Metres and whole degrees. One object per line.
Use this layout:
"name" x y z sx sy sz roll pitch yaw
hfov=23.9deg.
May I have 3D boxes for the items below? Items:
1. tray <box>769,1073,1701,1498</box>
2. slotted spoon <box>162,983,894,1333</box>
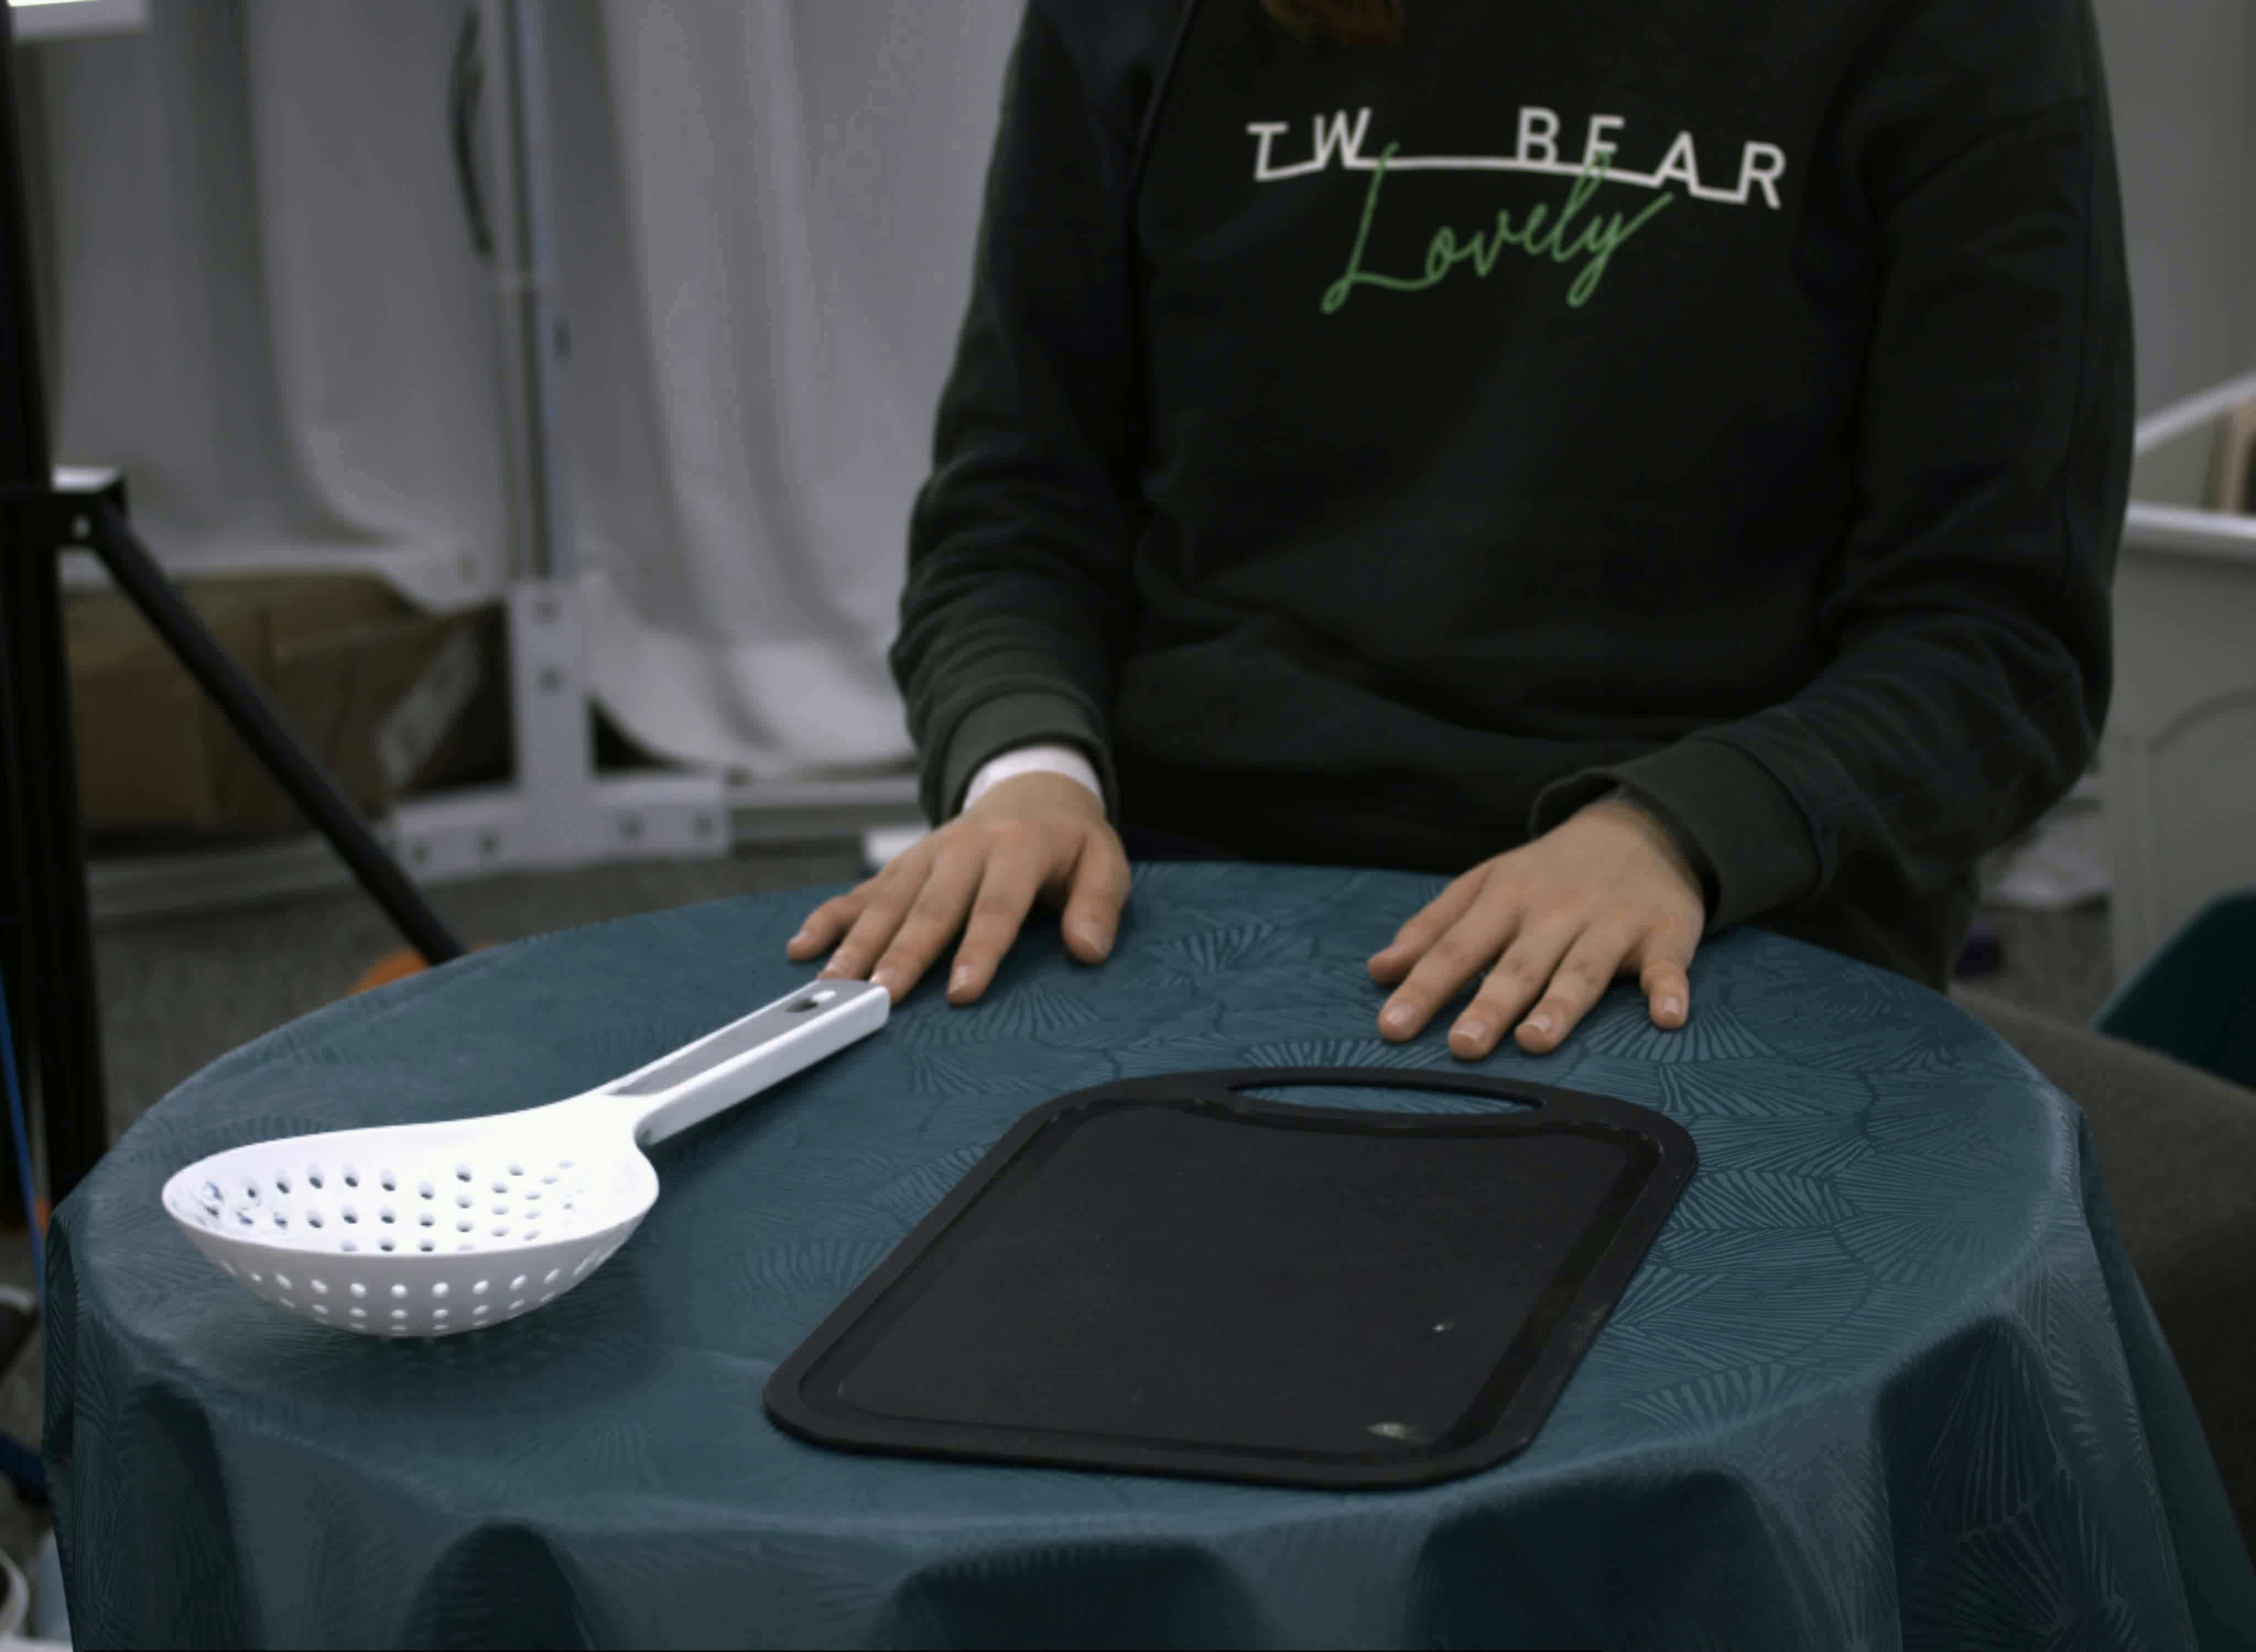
"tray" 0.039 0.120 1.496 0.213 0.010 0.322 3 16 18
"slotted spoon" -0.156 0.088 1.571 0.138 0.046 0.344 7 17 23
